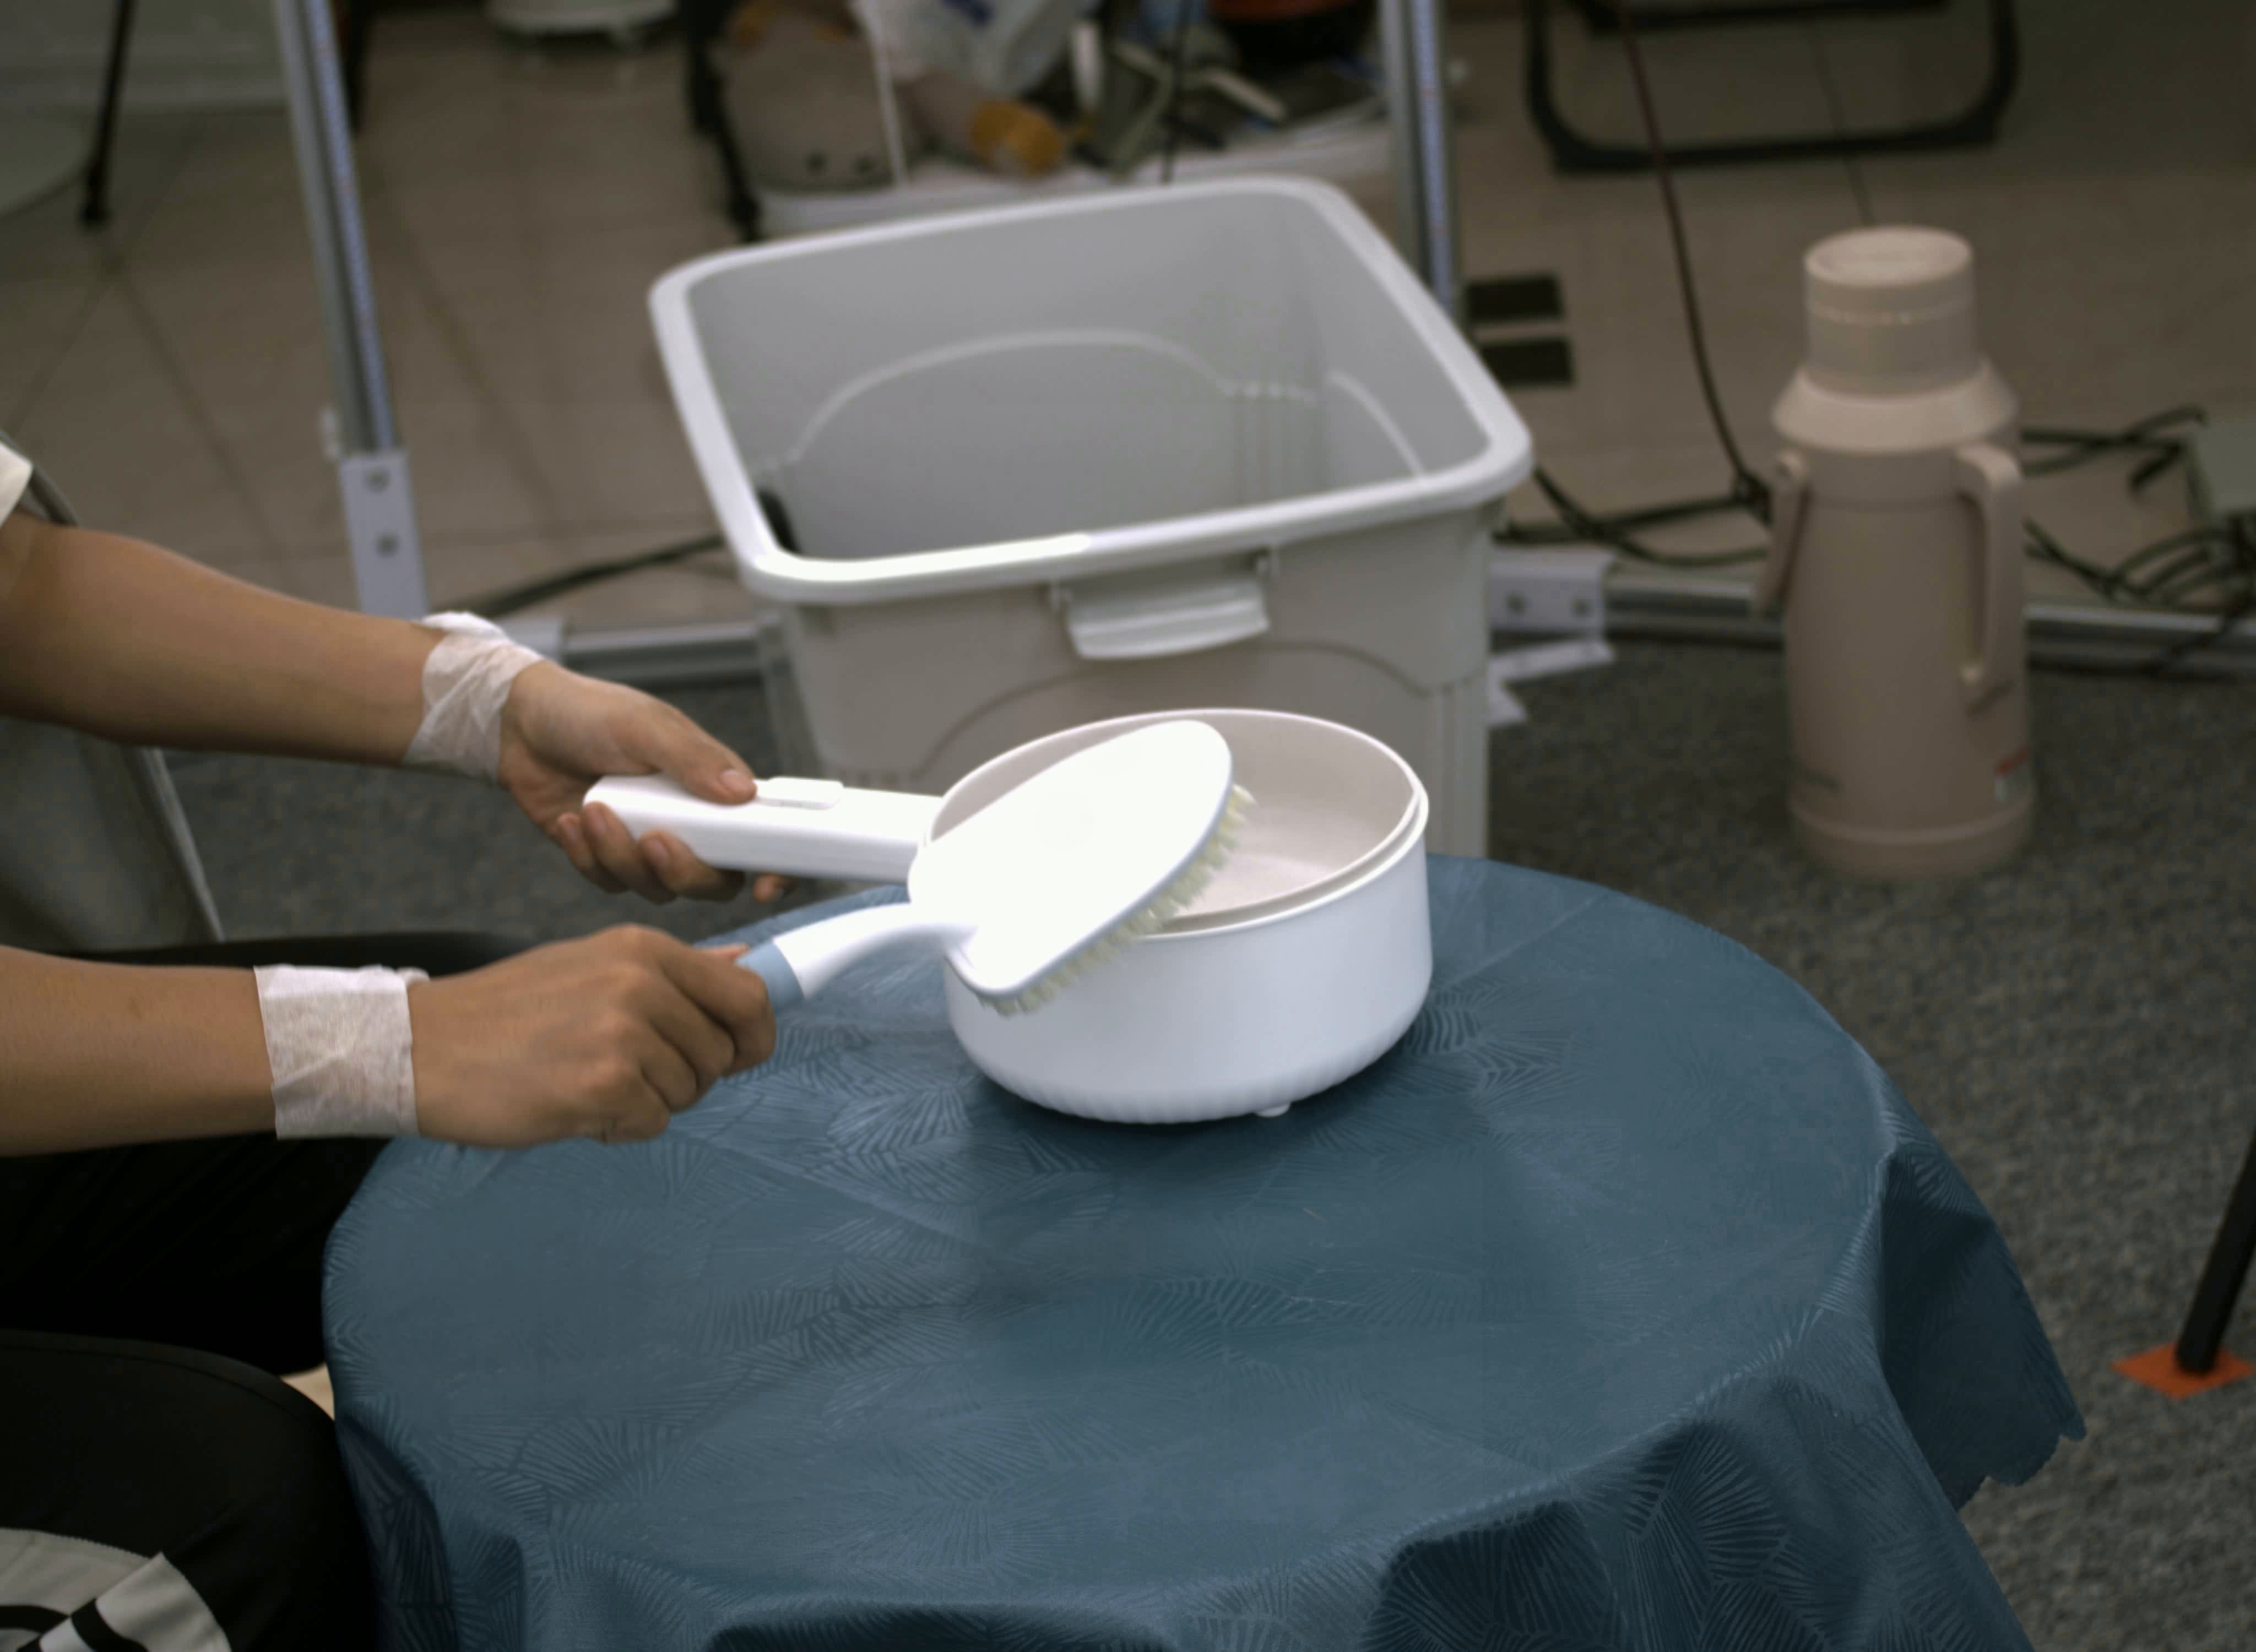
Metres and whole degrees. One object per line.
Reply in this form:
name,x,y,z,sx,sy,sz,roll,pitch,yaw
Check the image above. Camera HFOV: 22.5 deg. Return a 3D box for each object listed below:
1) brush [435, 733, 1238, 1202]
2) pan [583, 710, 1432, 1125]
brush,-0.104,0.061,2.053,0.324,0.086,0.082,-29,26,-12
pan,-0.049,0.035,2.267,0.354,0.104,0.198,4,27,22
